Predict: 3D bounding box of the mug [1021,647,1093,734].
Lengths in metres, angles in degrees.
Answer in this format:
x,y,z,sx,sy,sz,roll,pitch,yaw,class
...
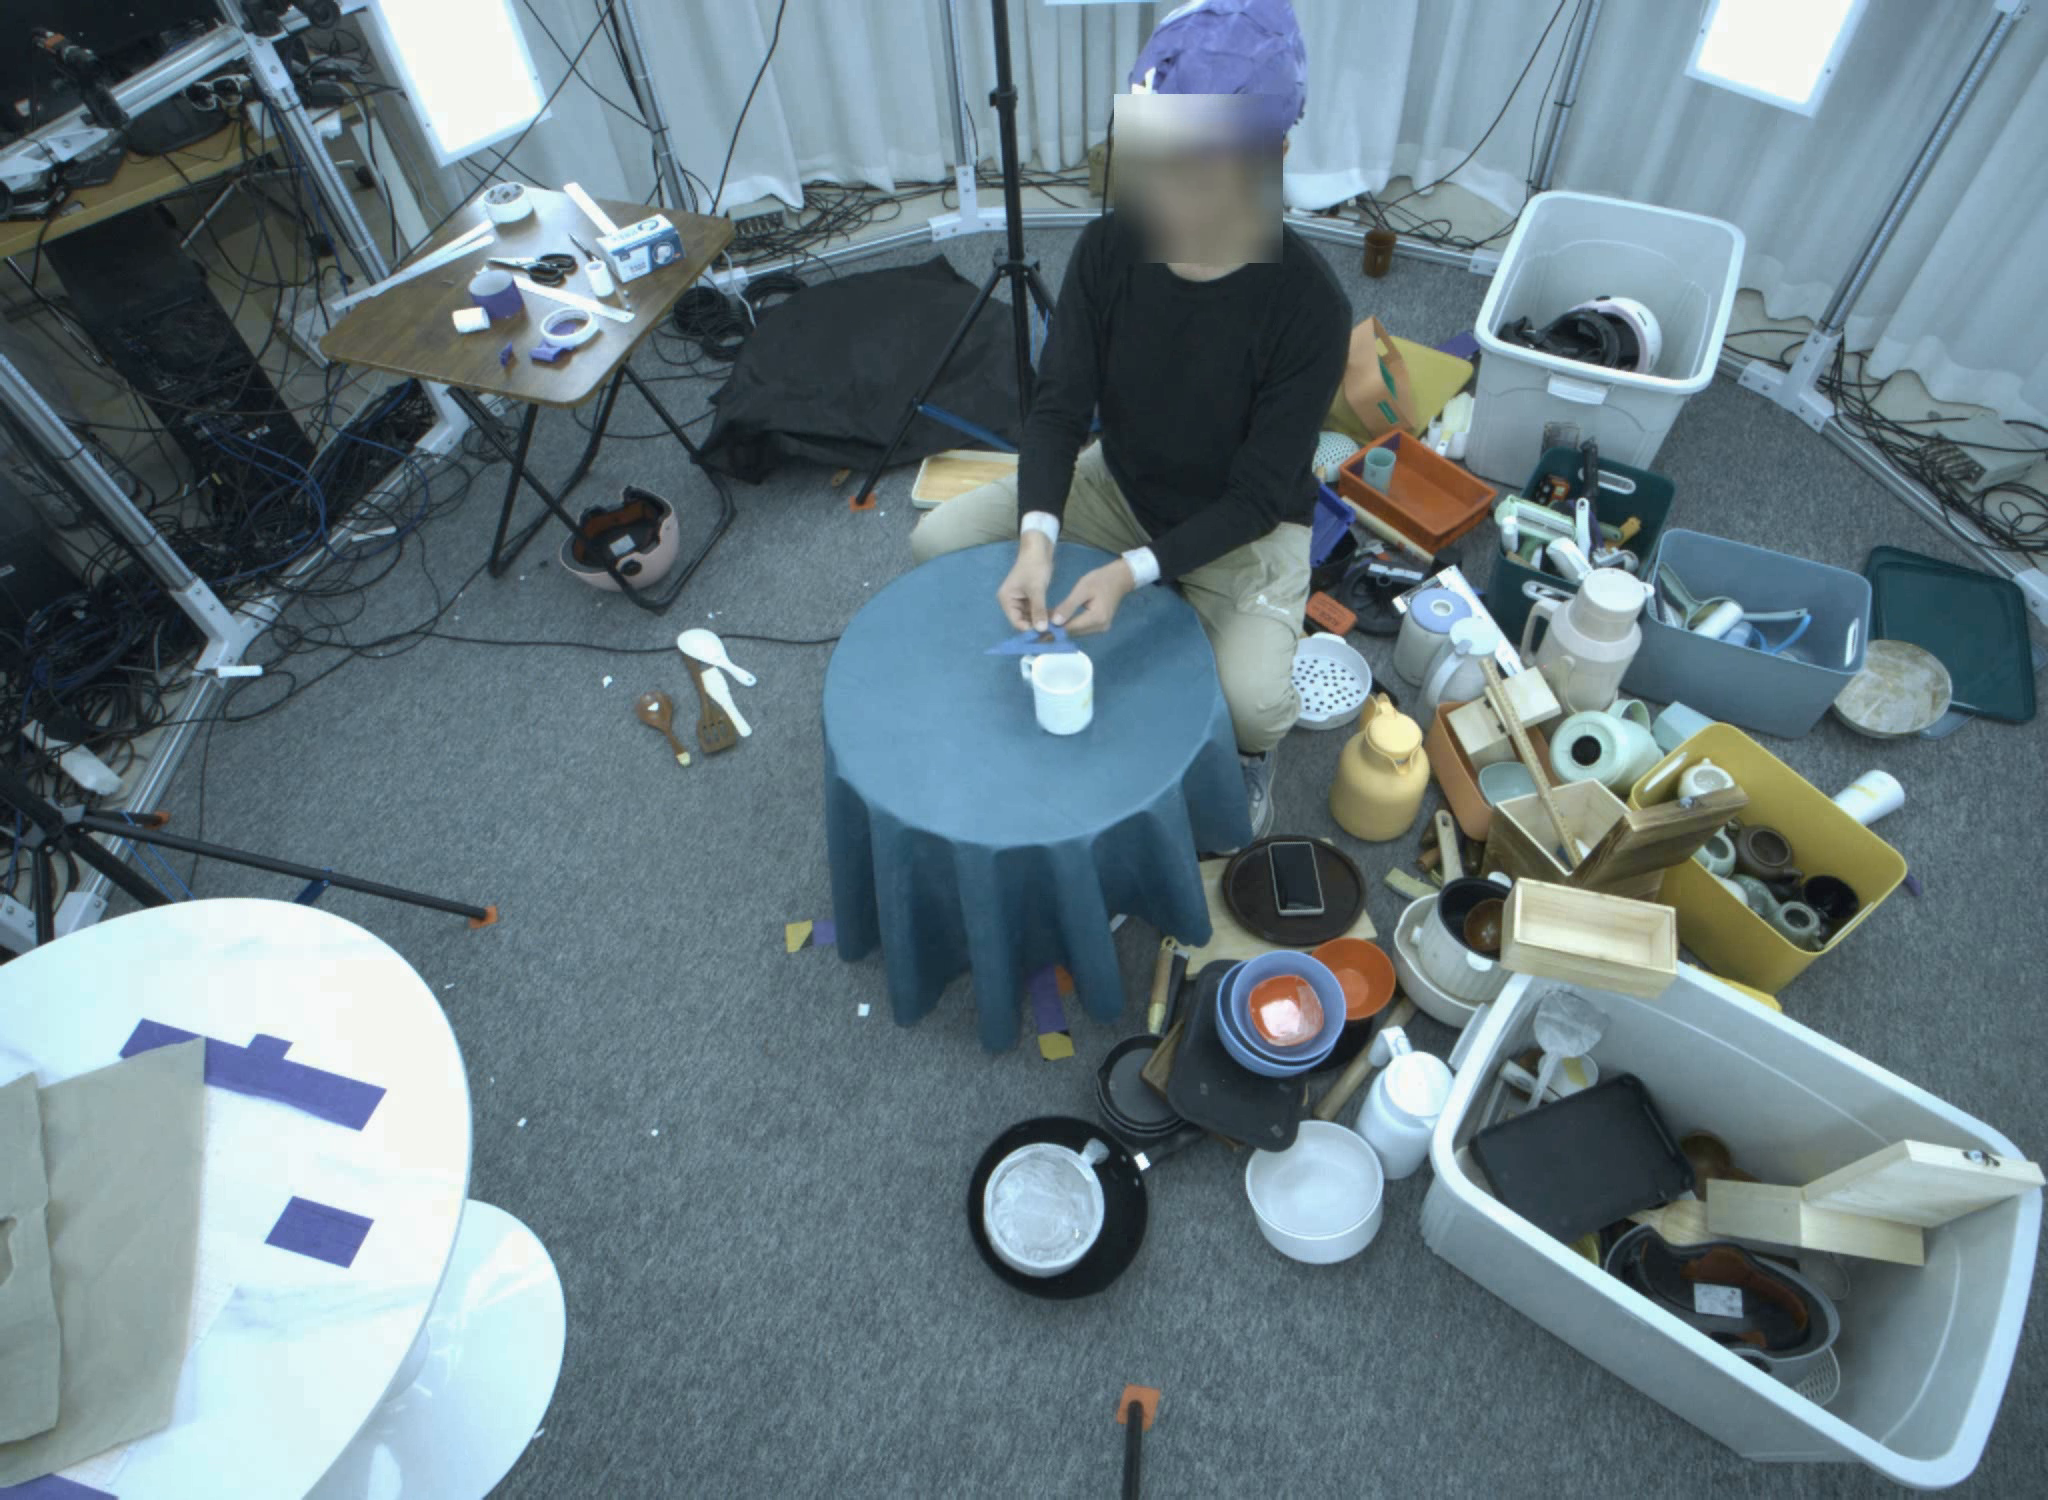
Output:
x,y,z,sx,sy,sz,roll,pitch,yaw,class
0.045,-0.092,1.788,0.116,0.103,0.085,33,63,23,mug

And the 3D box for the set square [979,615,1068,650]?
x,y,z,sx,sy,sz,roll,pitch,yaw,class
0.001,-0.171,1.771,0.131,0.006,0.061,3,66,8,set square
